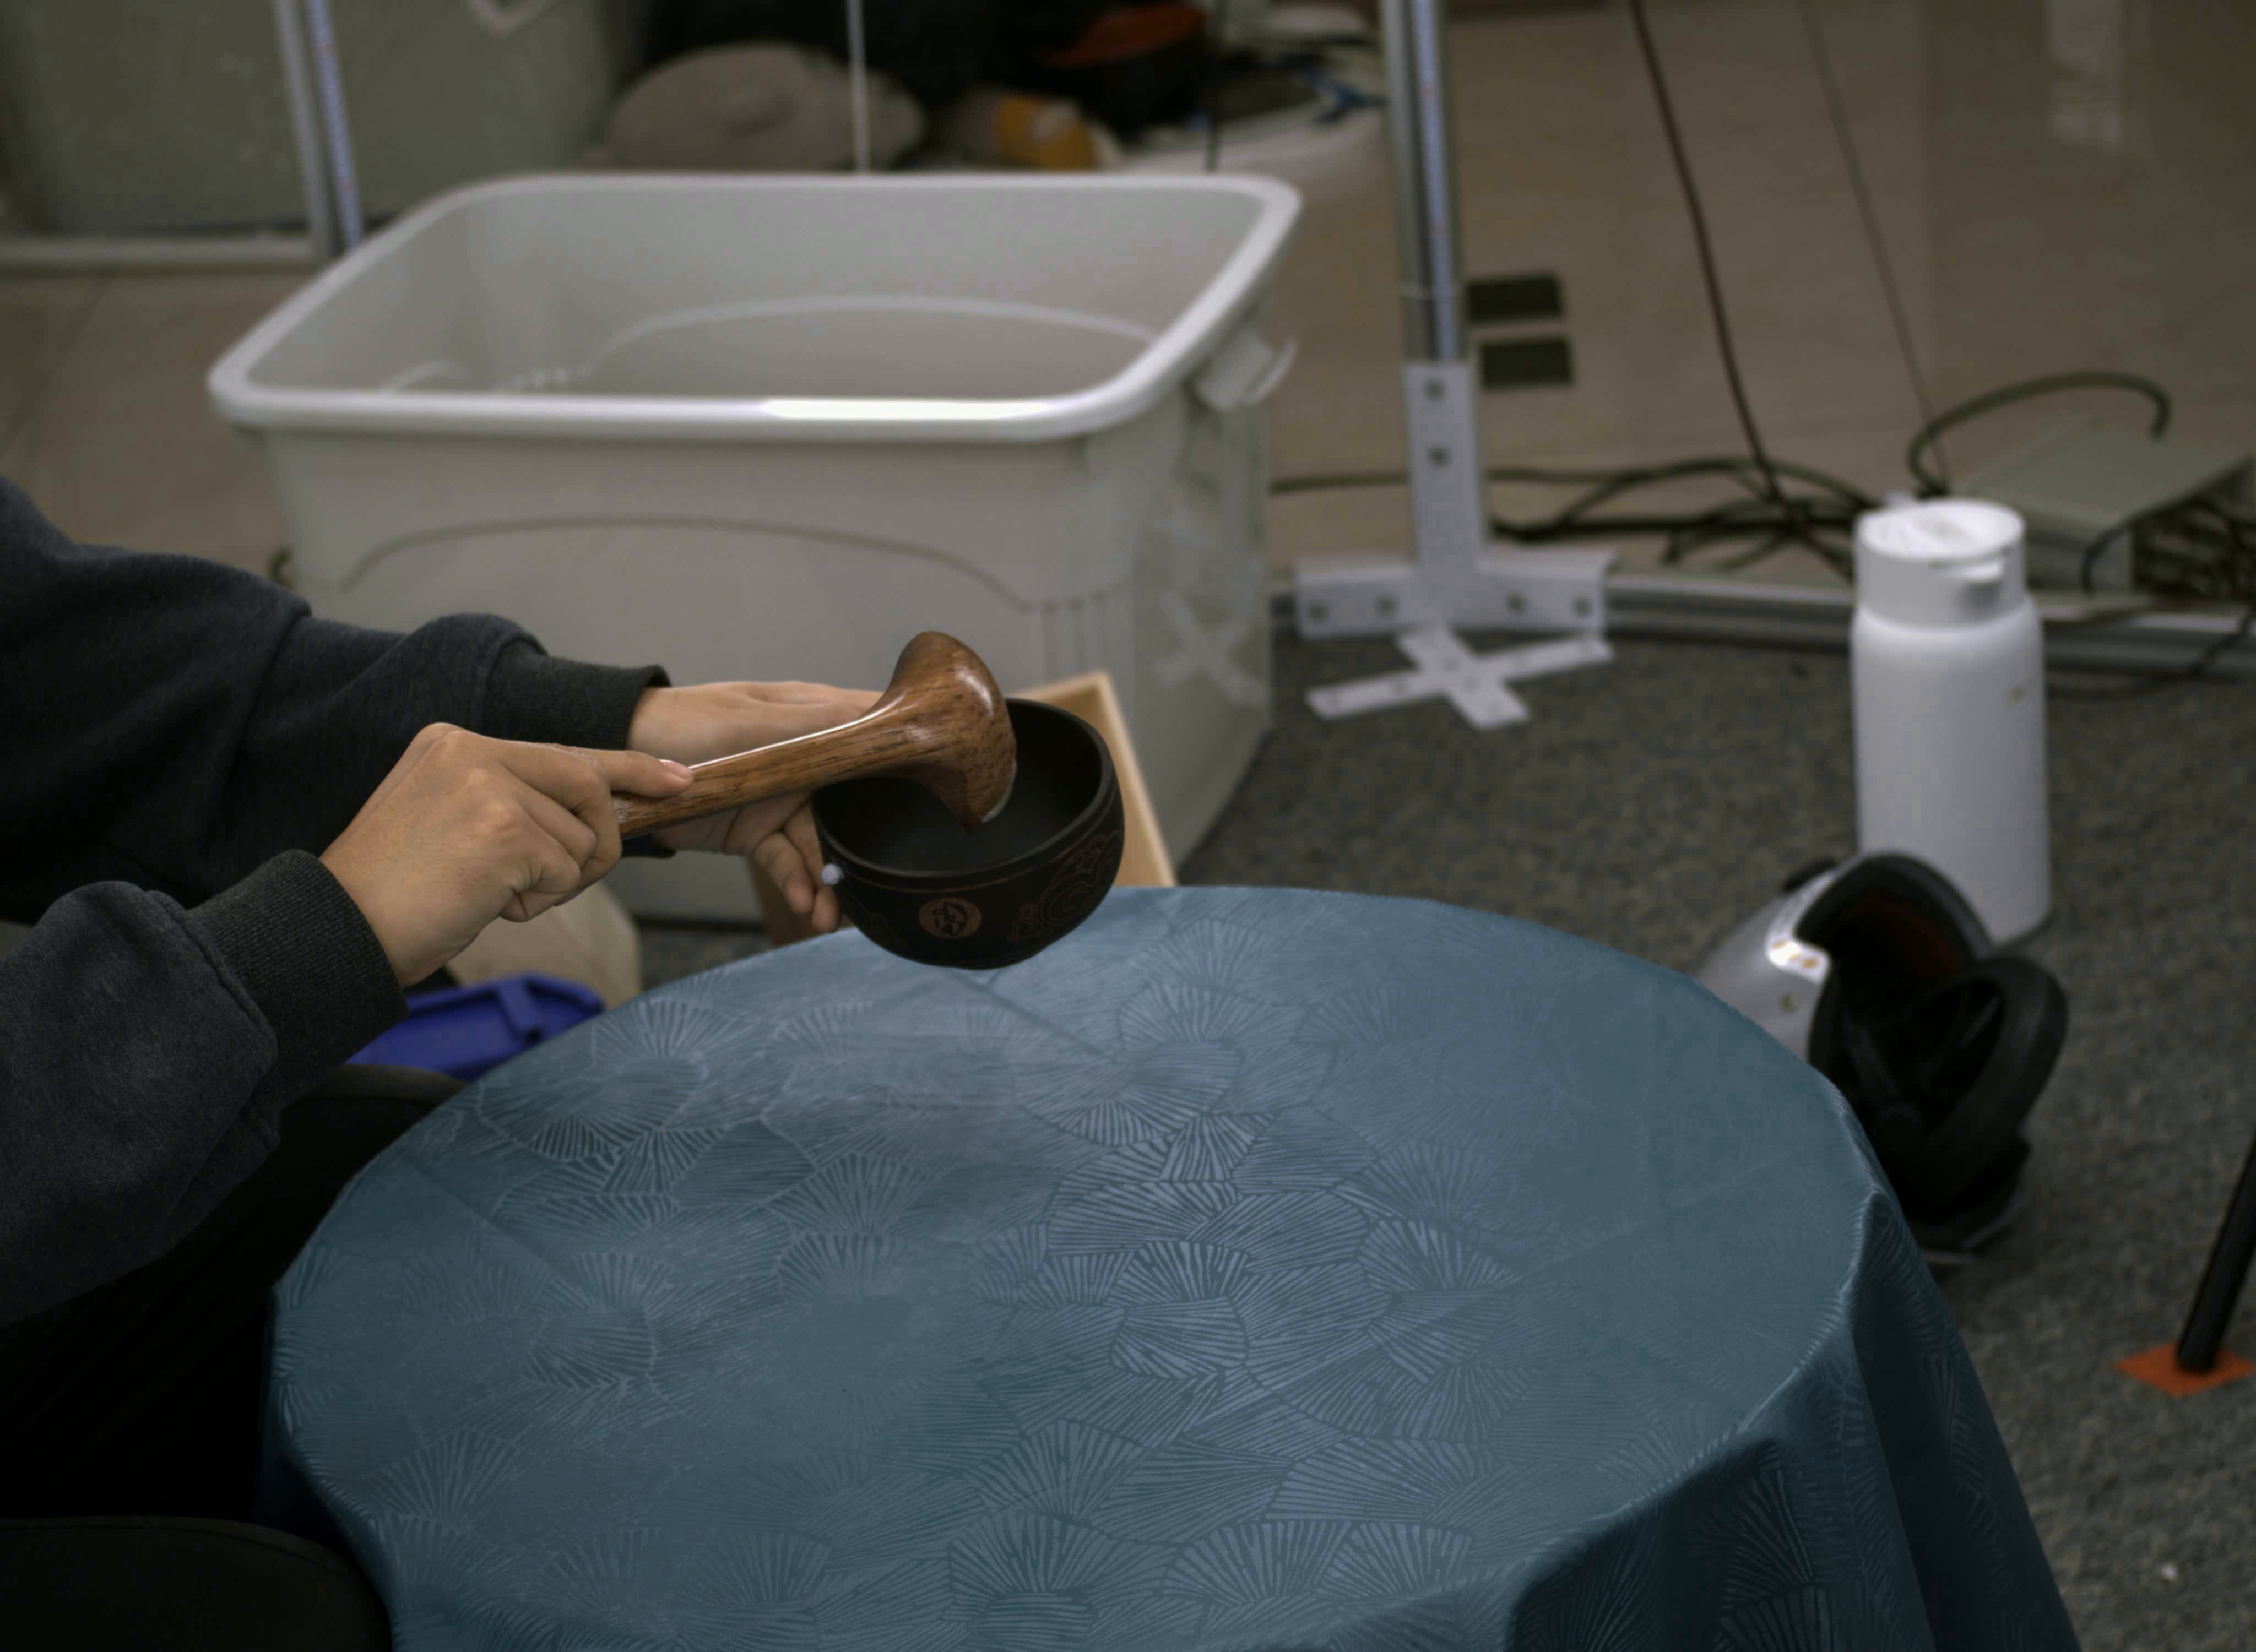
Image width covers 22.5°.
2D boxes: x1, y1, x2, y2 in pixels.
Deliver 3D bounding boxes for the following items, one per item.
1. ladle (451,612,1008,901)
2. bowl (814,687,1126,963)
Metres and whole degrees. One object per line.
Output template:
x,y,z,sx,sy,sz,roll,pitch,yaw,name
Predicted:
-0.148,-0.015,2.049,0.272,0.082,0.077,-19,-2,-38,ladle
-0.057,0.008,2.170,0.118,0.071,0.116,-8,38,6,bowl
